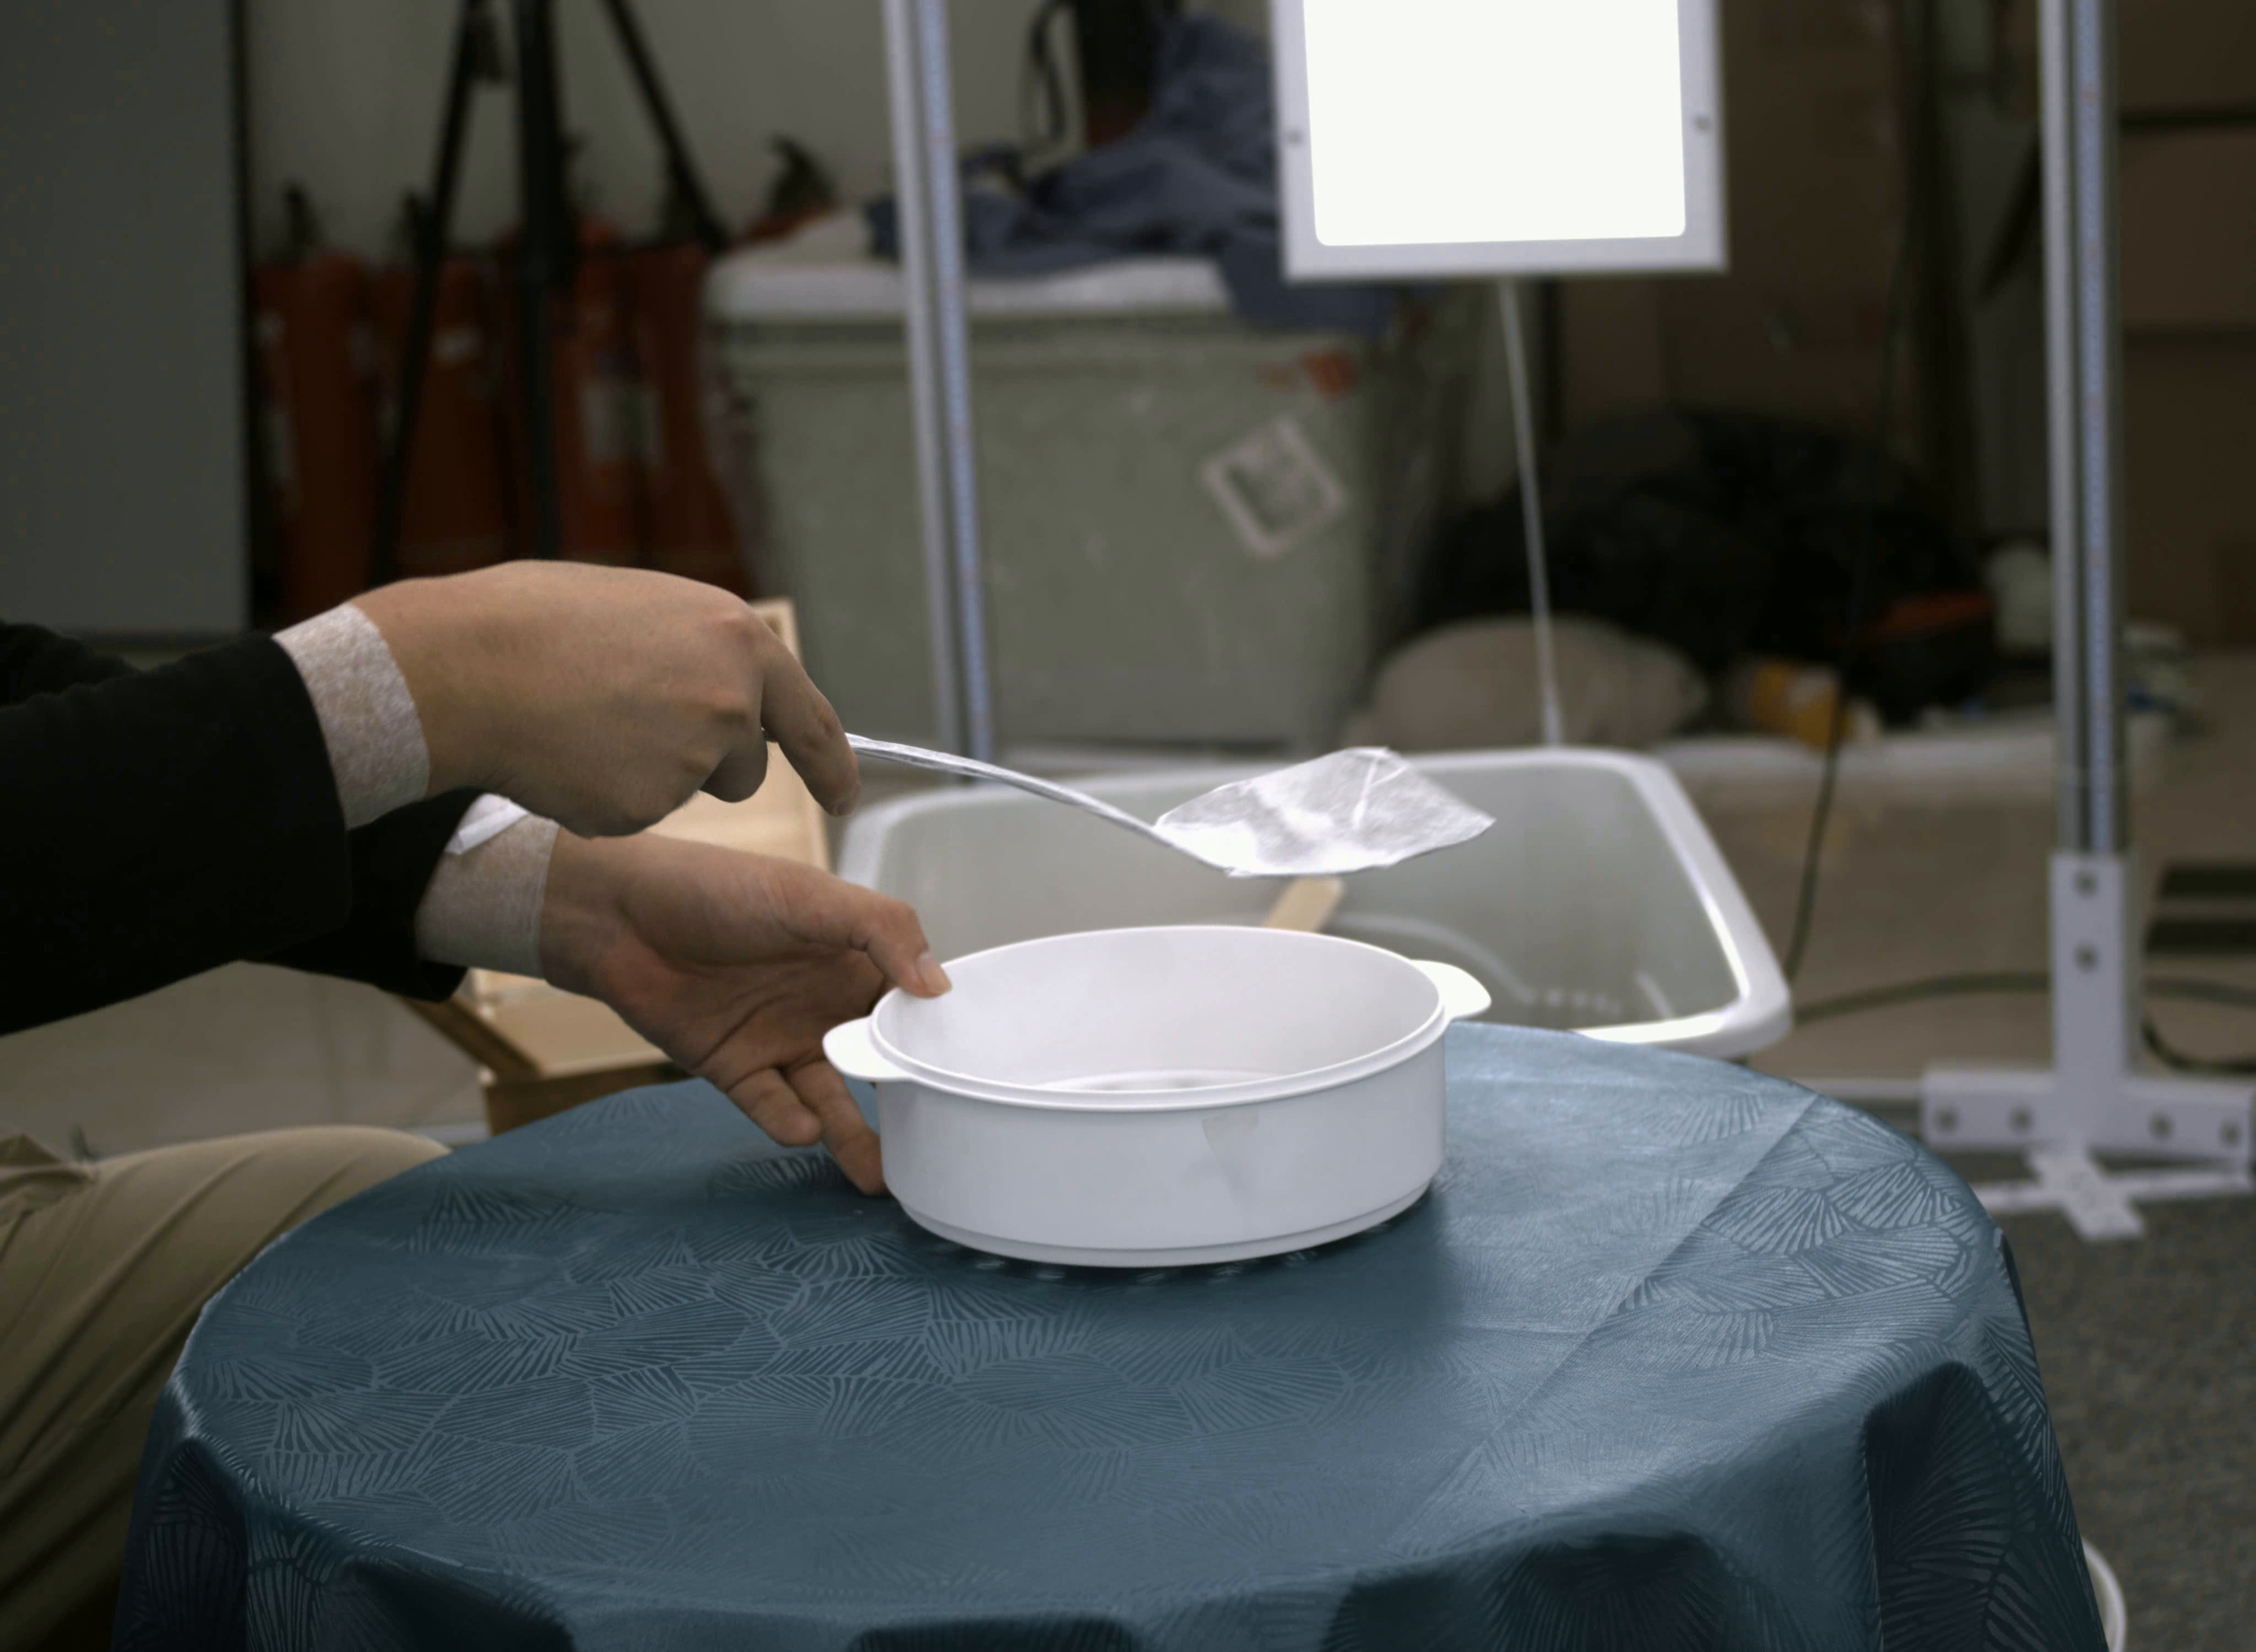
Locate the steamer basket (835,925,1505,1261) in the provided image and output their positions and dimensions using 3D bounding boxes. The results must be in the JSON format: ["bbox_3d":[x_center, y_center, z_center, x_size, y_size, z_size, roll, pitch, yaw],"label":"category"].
[{"bbox_3d":[0.017,0.091,1.881,0.228,0.069,0.203,-6,14,-9],"label":"steamer basket"}]

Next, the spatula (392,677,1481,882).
[{"bbox_3d":[-0.057,-0.024,1.752,0.358,0.045,0.100,12,14,-25],"label":"spatula"}]
